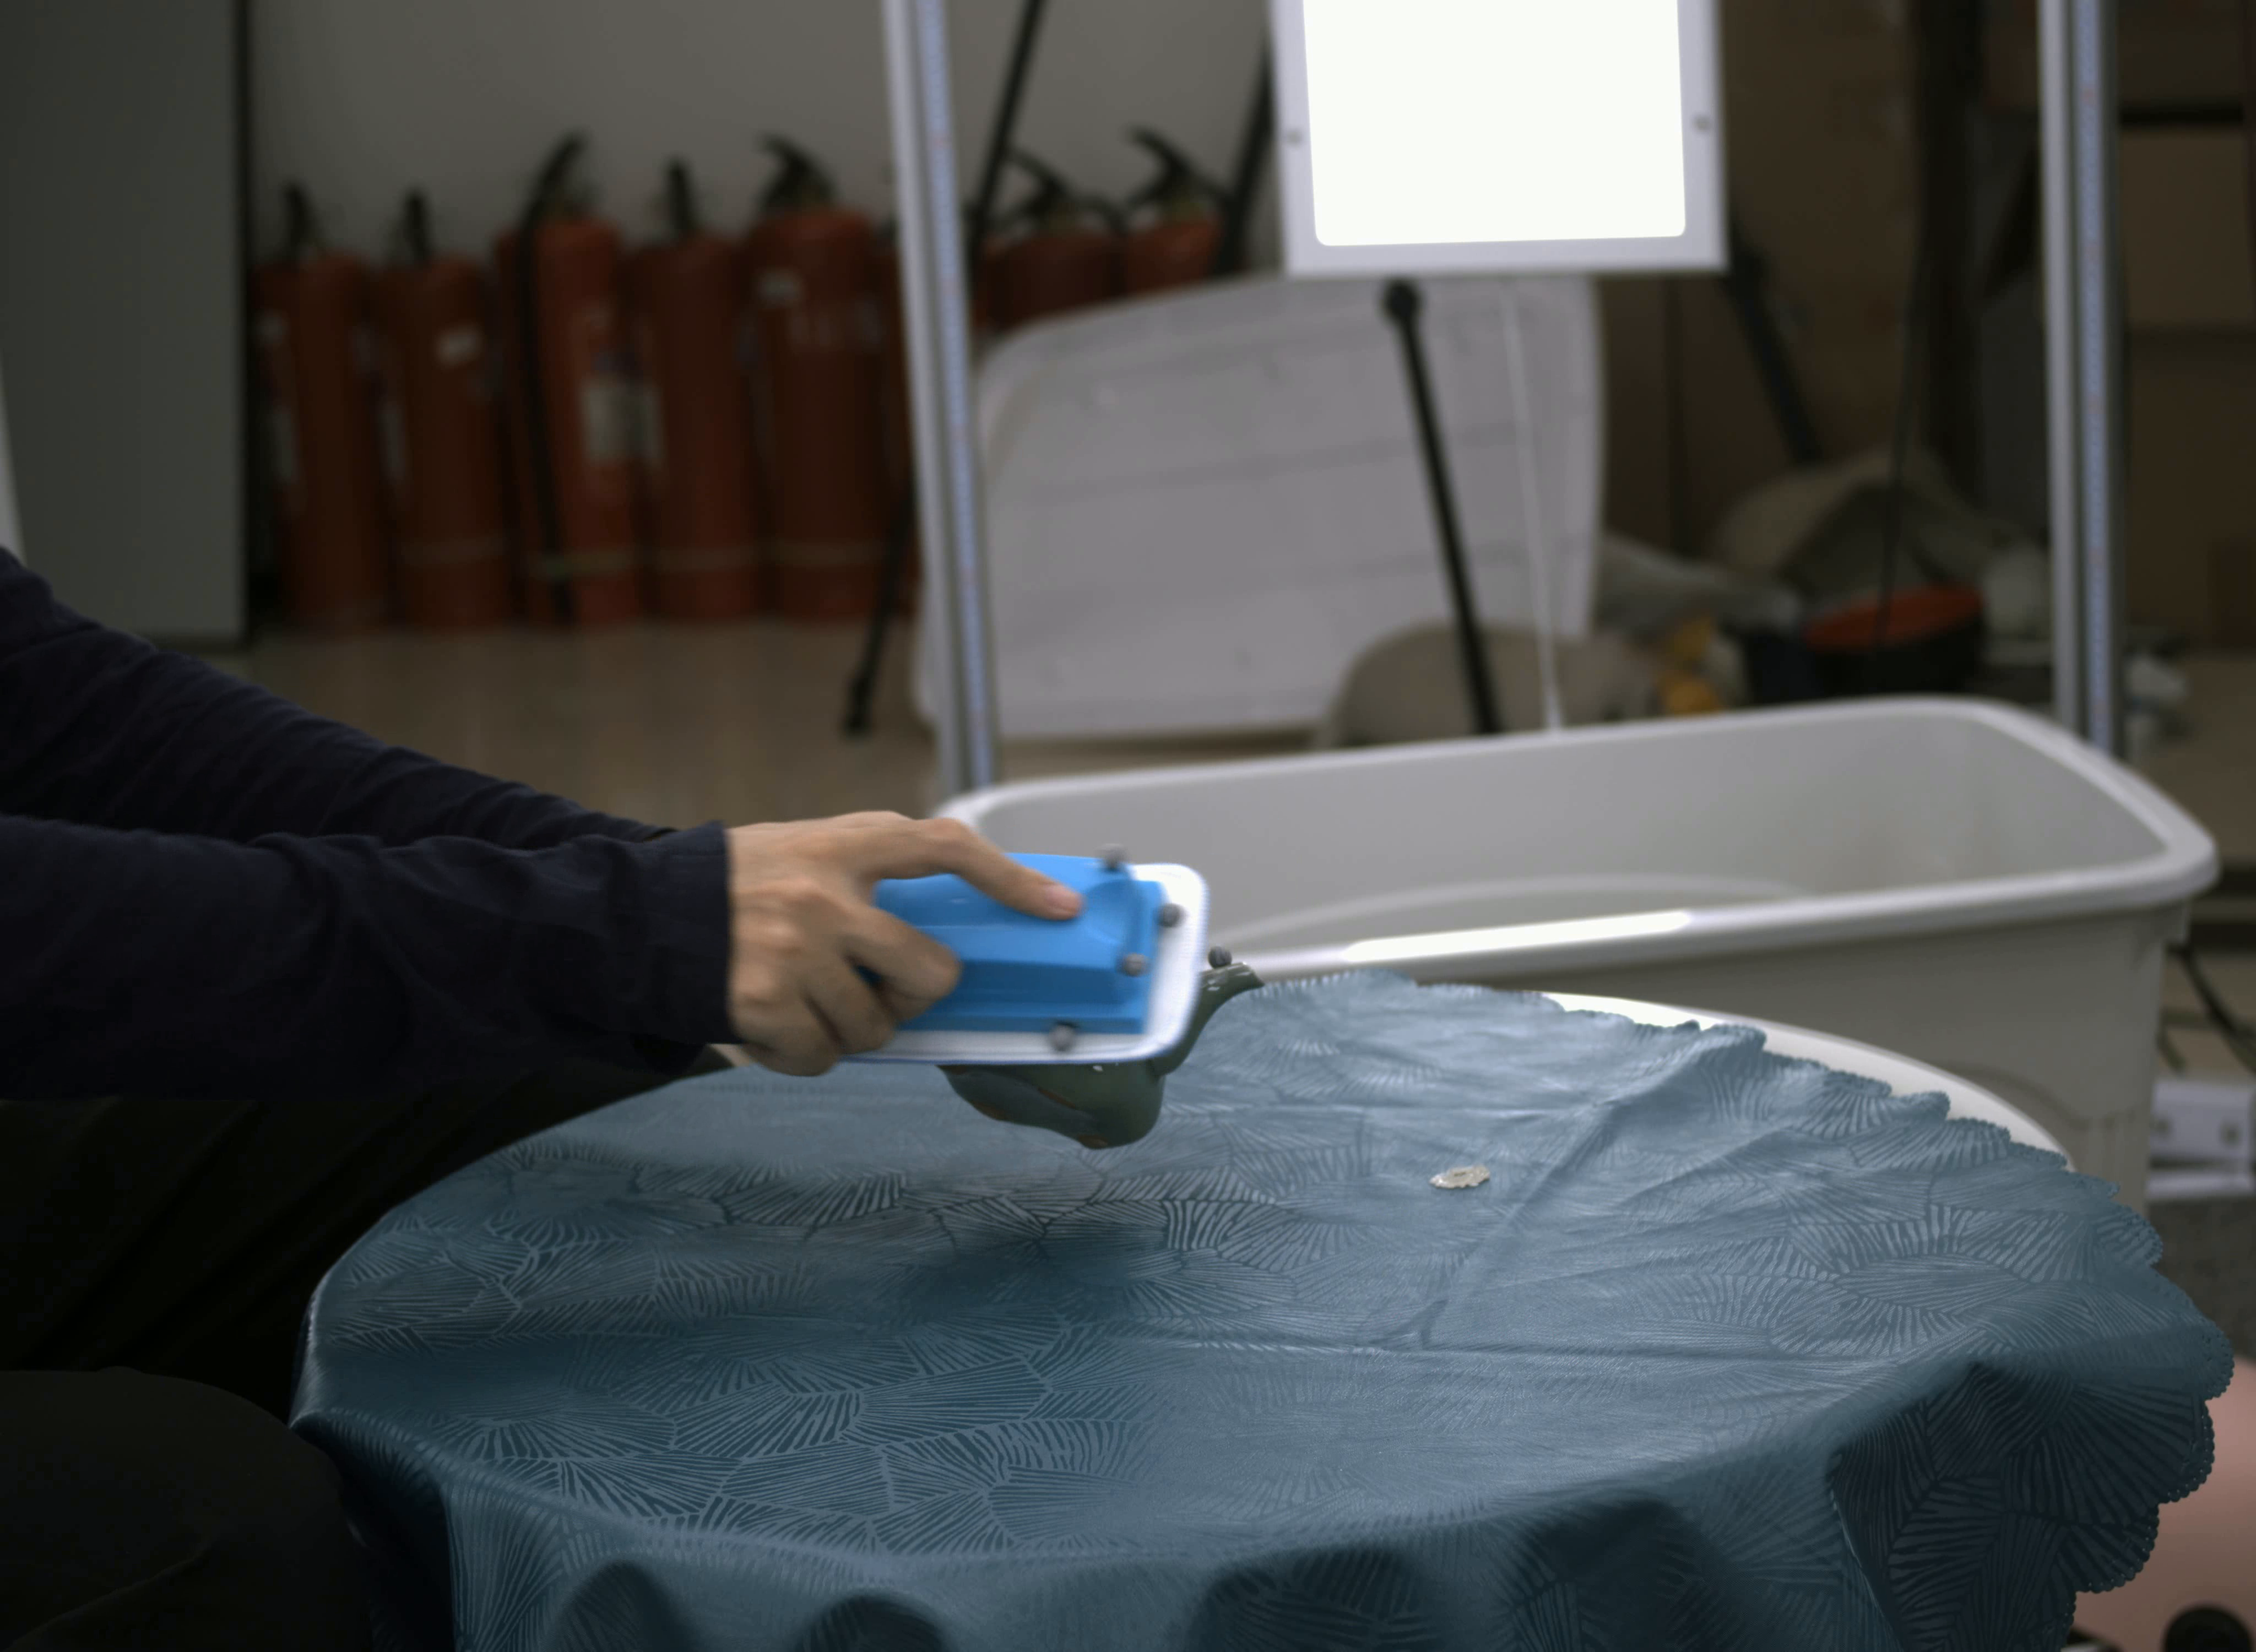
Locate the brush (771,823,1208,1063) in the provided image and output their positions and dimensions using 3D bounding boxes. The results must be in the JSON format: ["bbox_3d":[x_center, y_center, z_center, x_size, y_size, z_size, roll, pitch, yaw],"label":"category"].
[{"bbox_3d":[-0.049,0.035,1.838,0.145,0.056,0.083,4,57,17],"label":"brush"}]

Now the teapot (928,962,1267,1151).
[{"bbox_3d":[-0.023,0.064,1.884,0.134,0.075,0.079,15,-20,25],"label":"teapot"}]
